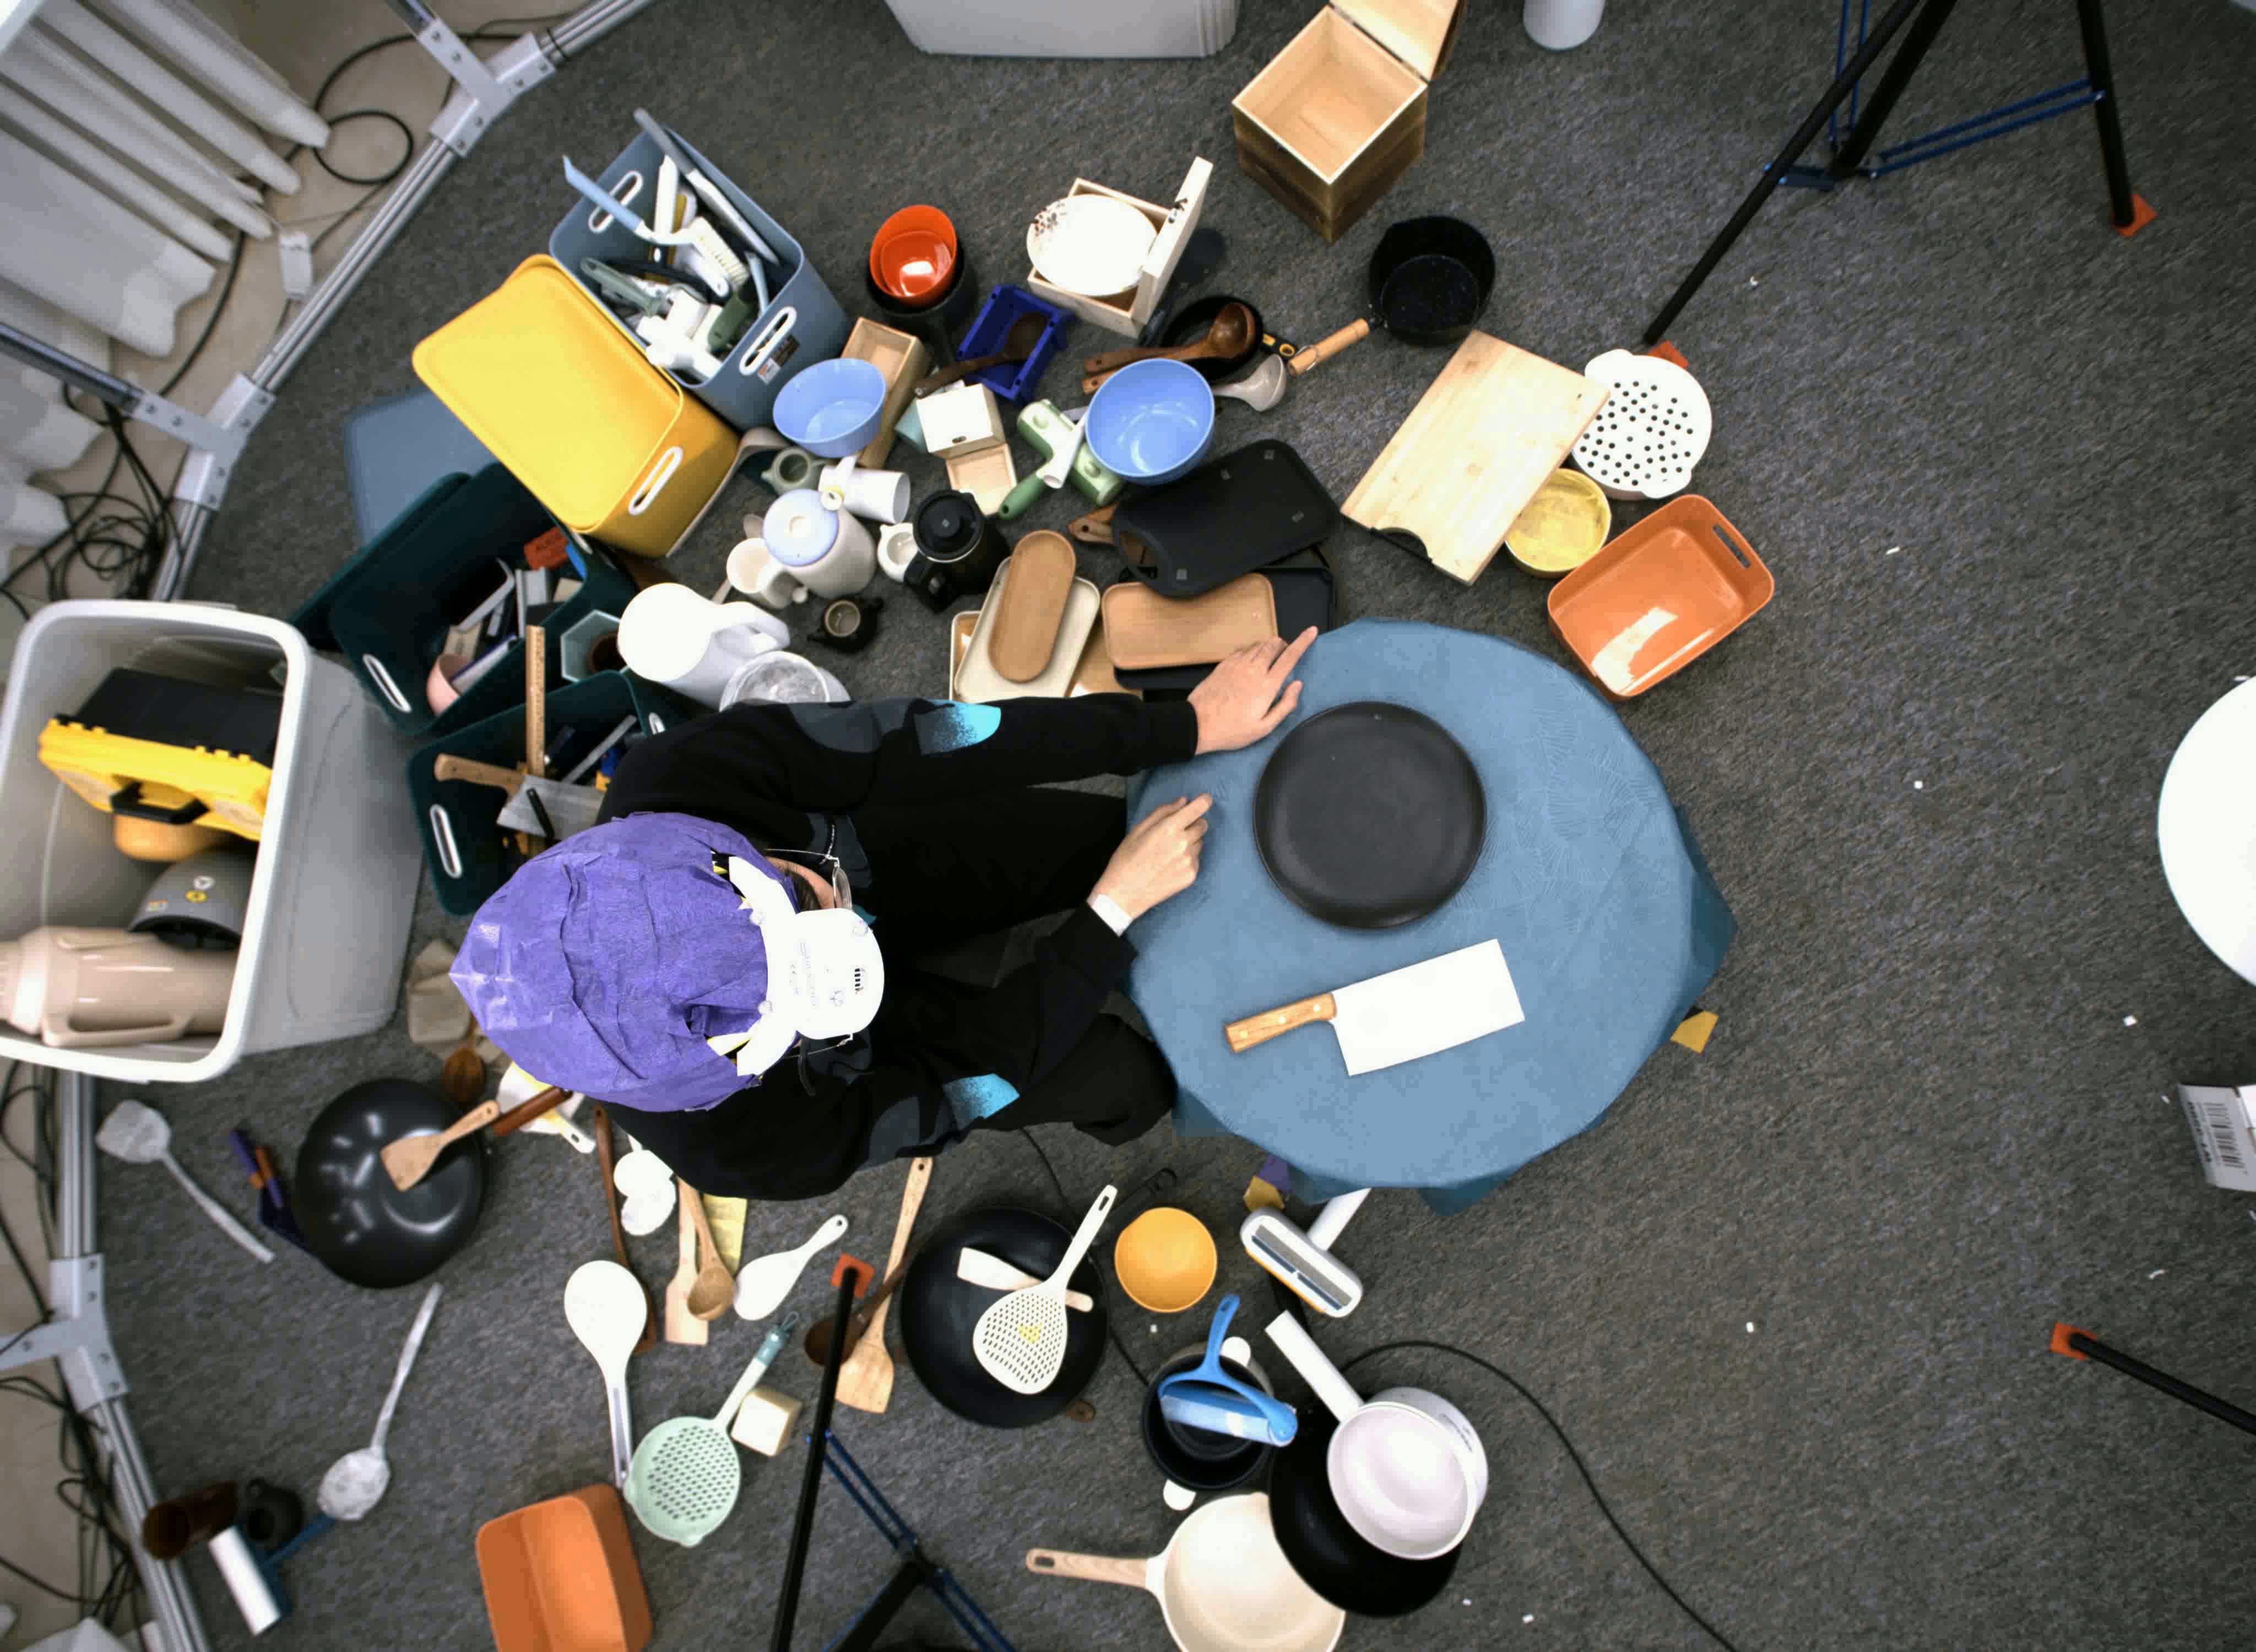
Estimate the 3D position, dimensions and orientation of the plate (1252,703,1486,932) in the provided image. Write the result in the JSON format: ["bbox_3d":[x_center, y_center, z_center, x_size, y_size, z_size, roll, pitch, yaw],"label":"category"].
[{"bbox_3d":[0.253,-0.010,1.455,0.245,0.023,0.243,-1,87,10],"label":"plate"}]

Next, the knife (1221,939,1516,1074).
[{"bbox_3d":[0.253,0.204,1.448,0.307,0.021,0.092,-19,85,7],"label":"knife"}]
